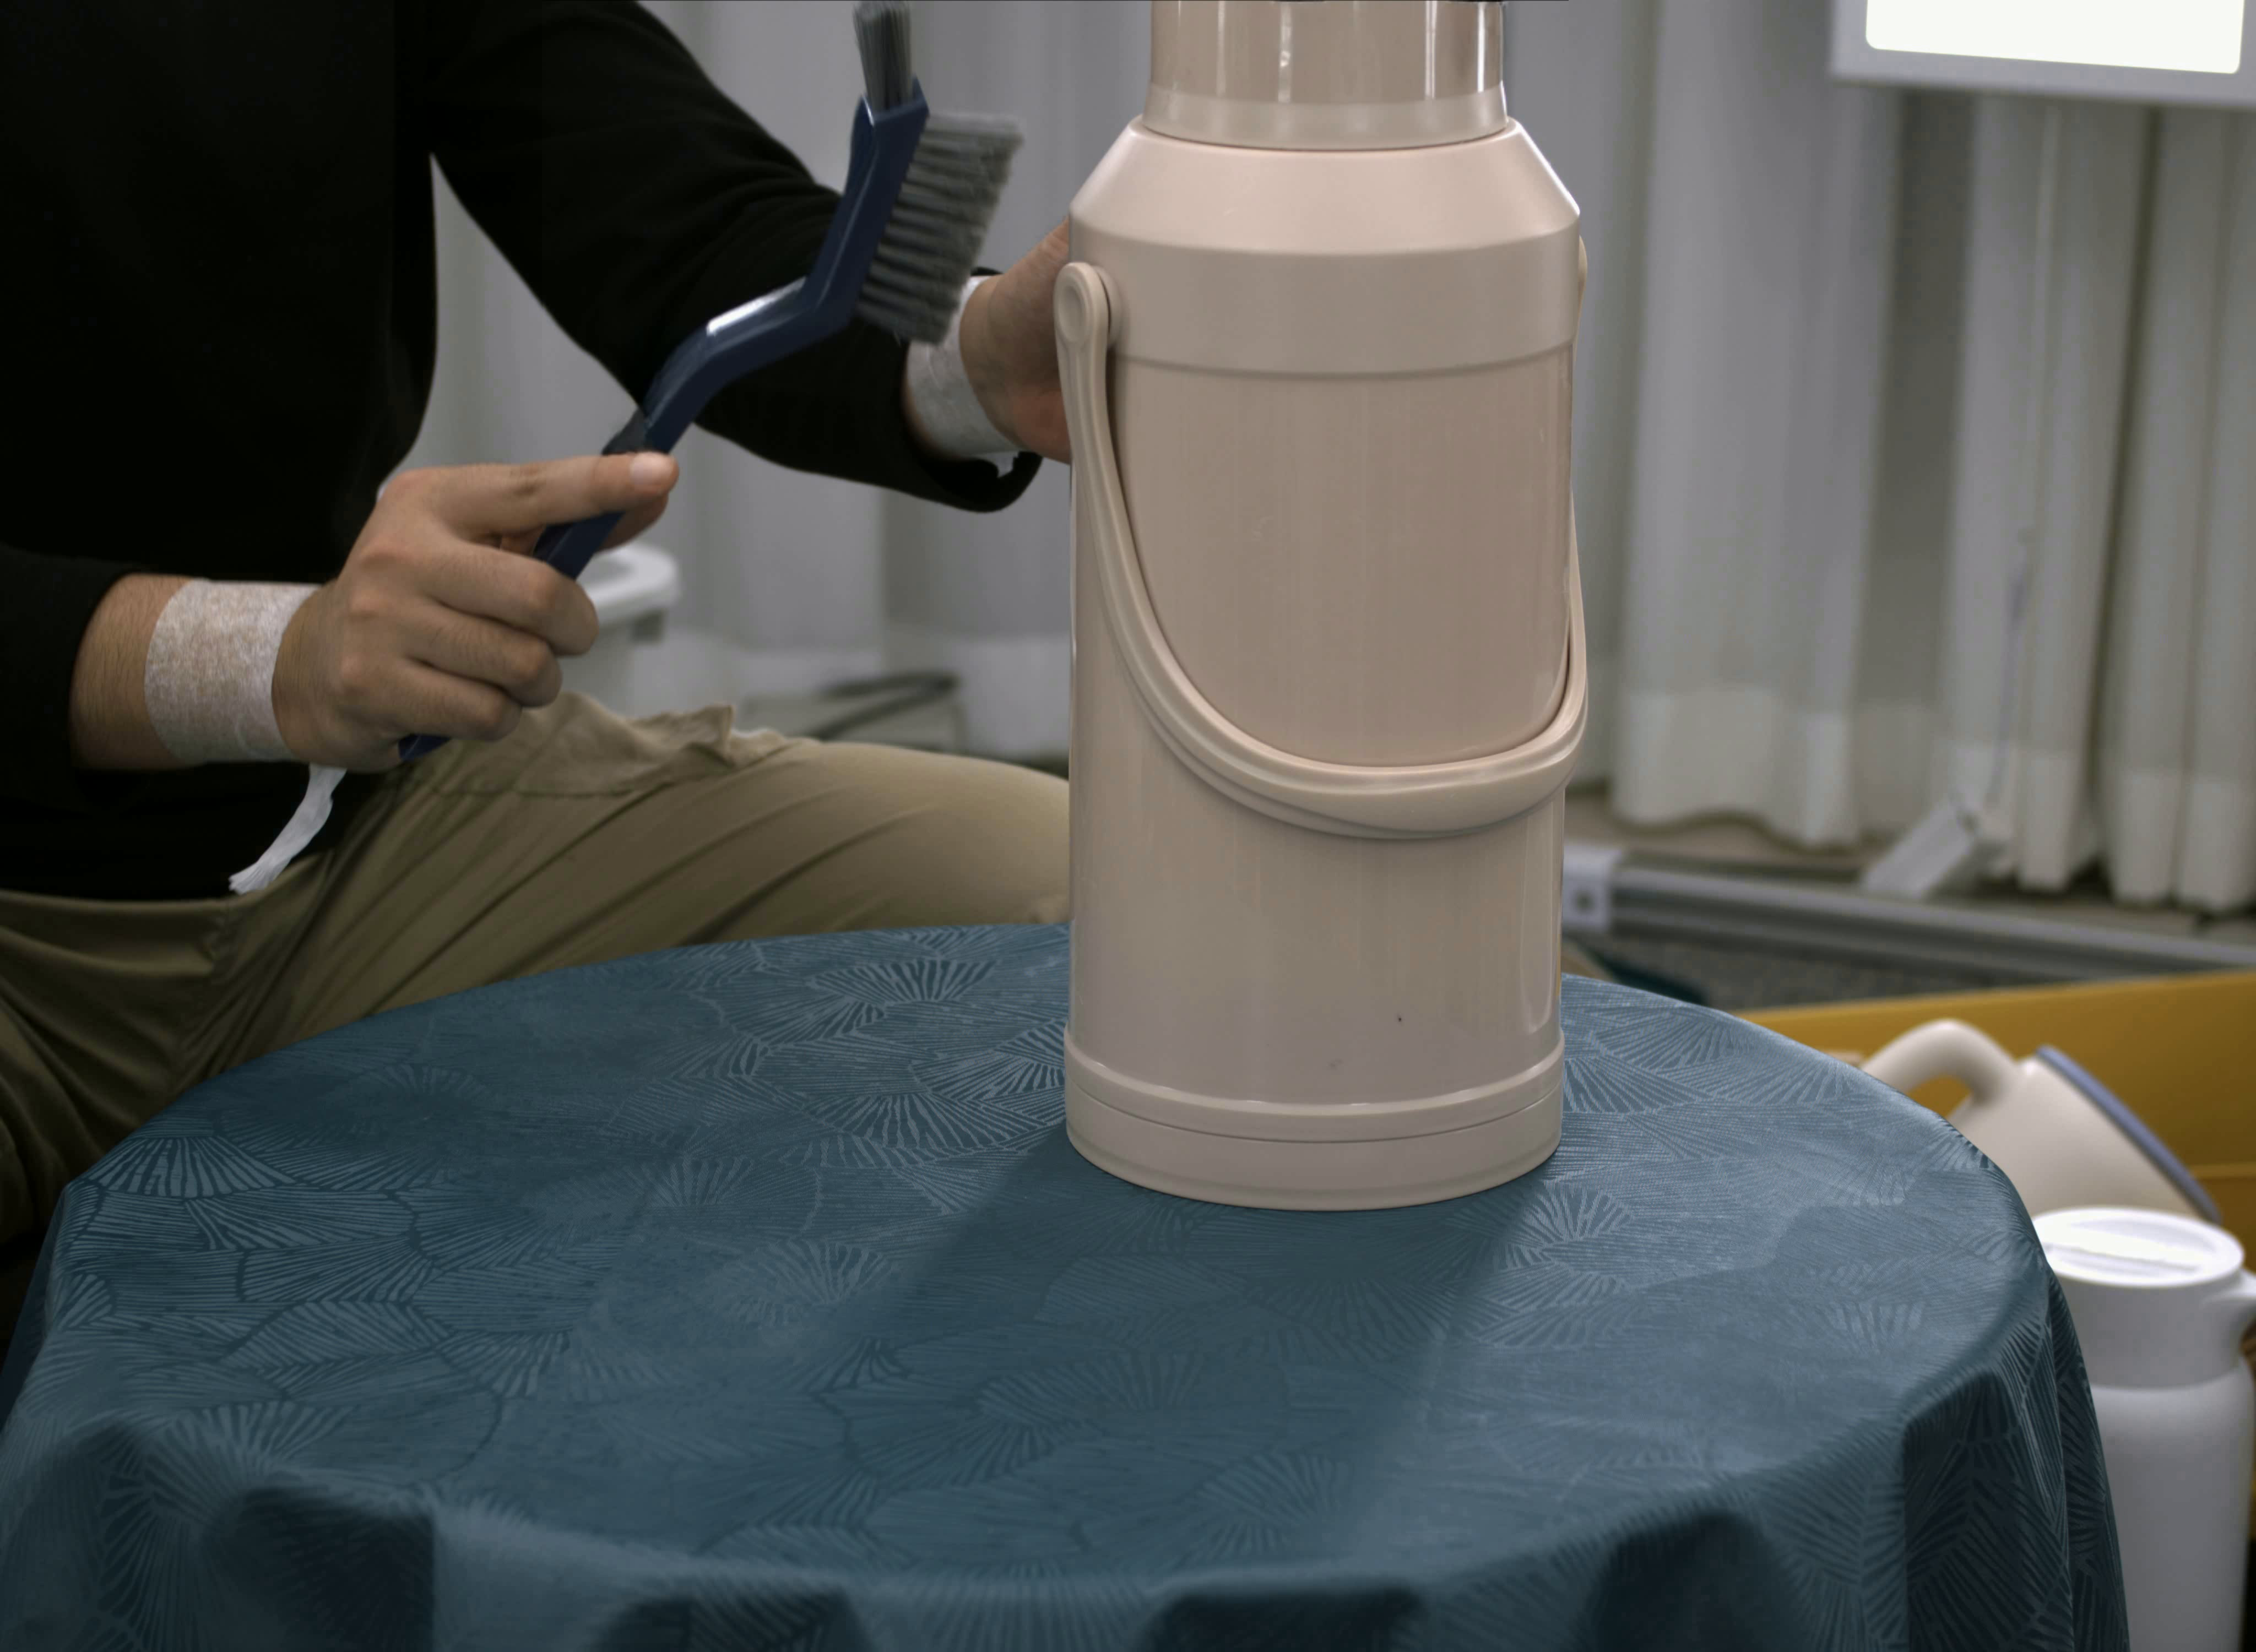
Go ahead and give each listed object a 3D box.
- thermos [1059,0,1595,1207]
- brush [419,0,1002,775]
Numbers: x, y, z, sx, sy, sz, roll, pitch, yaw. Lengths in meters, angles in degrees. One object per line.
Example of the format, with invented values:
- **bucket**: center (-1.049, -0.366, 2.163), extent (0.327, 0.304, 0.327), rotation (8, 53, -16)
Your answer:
- **thermos**: center (0.056, -0.099, 1.638), extent (0.176, 0.410, 0.204), rotation (-10, 20, -28)
- **brush**: center (-0.144, -0.131, 1.597), extent (0.097, 0.273, 0.033), rotation (40, 15, -27)
